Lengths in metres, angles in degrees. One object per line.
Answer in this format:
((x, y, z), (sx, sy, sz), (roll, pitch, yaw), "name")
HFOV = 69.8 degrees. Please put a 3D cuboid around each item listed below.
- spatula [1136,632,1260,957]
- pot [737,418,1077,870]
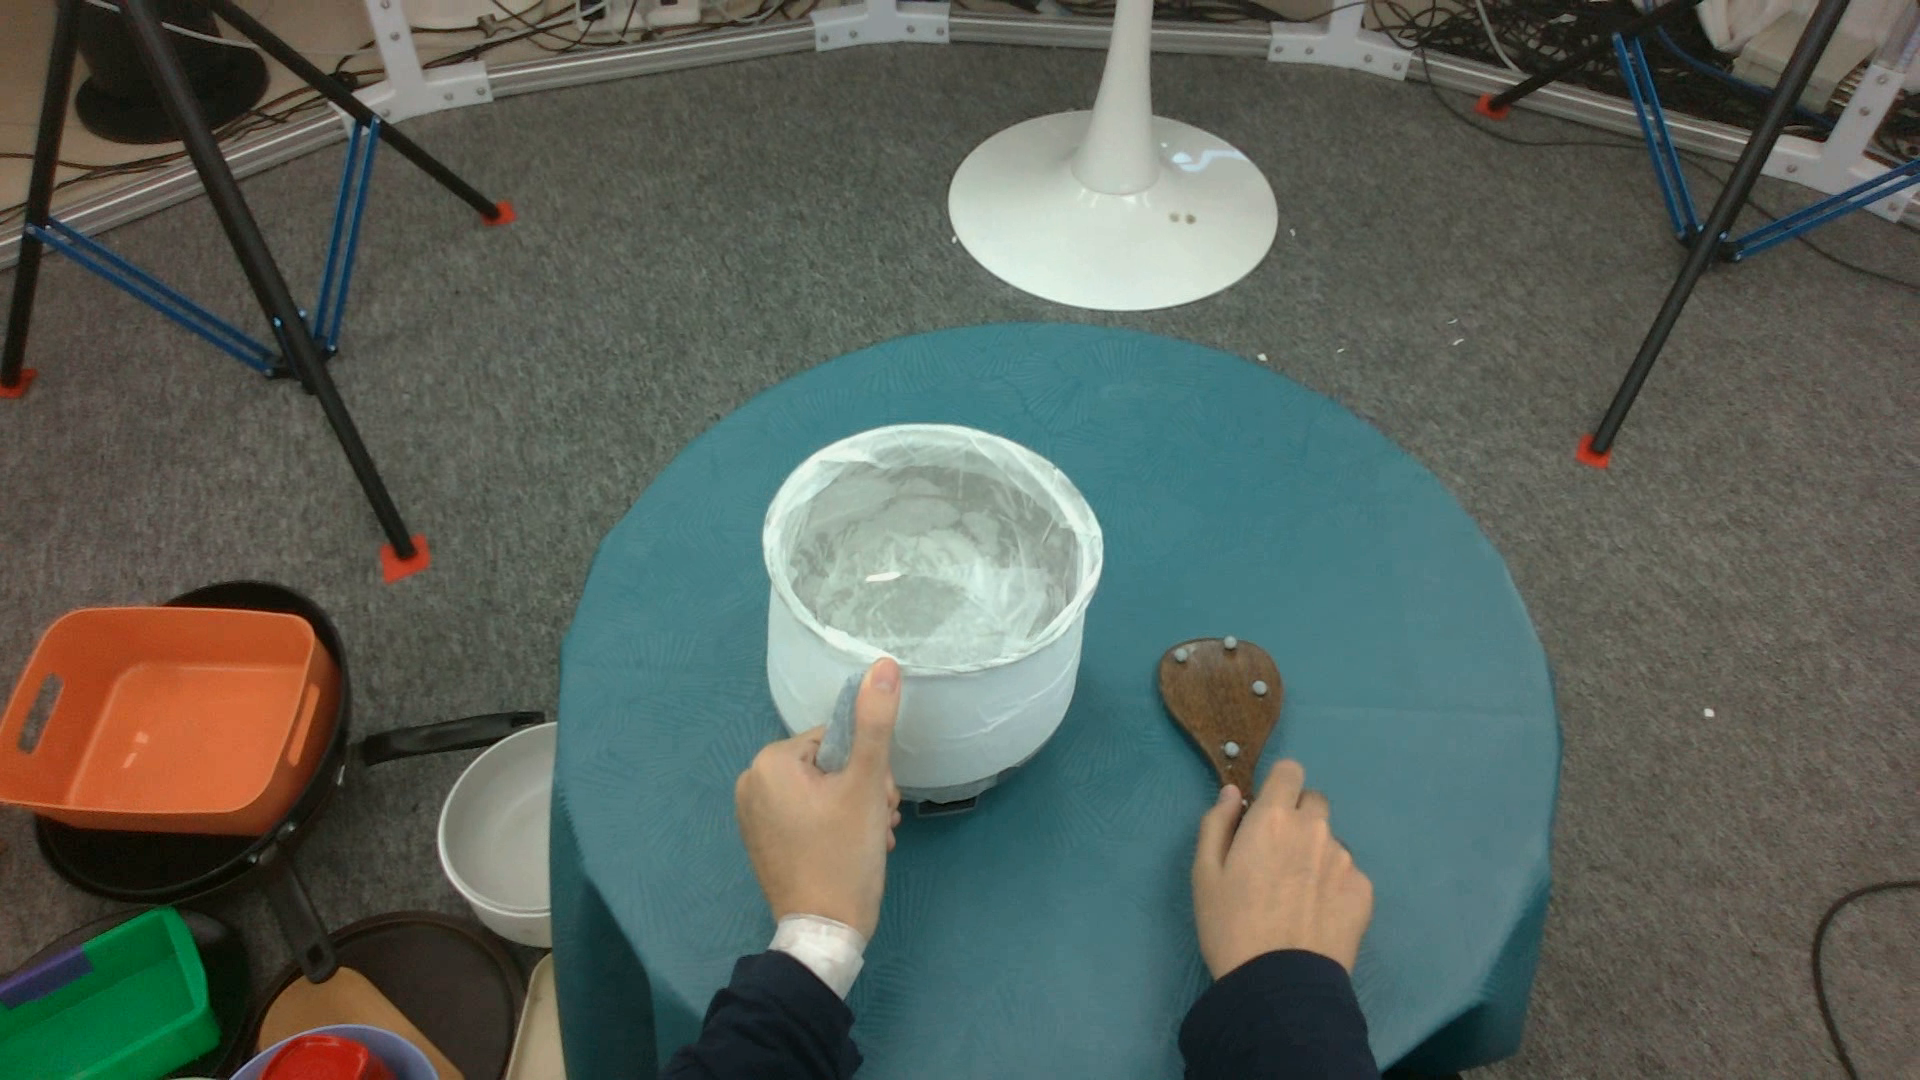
((0.141, 0.134, 0.773), (0.072, 0.009, 0.217), (-2, 46, 3), "spatula")
((-0.039, 0.057, 0.741), (0.178, 0.136, 0.235), (14, 45, 9), "pot")
